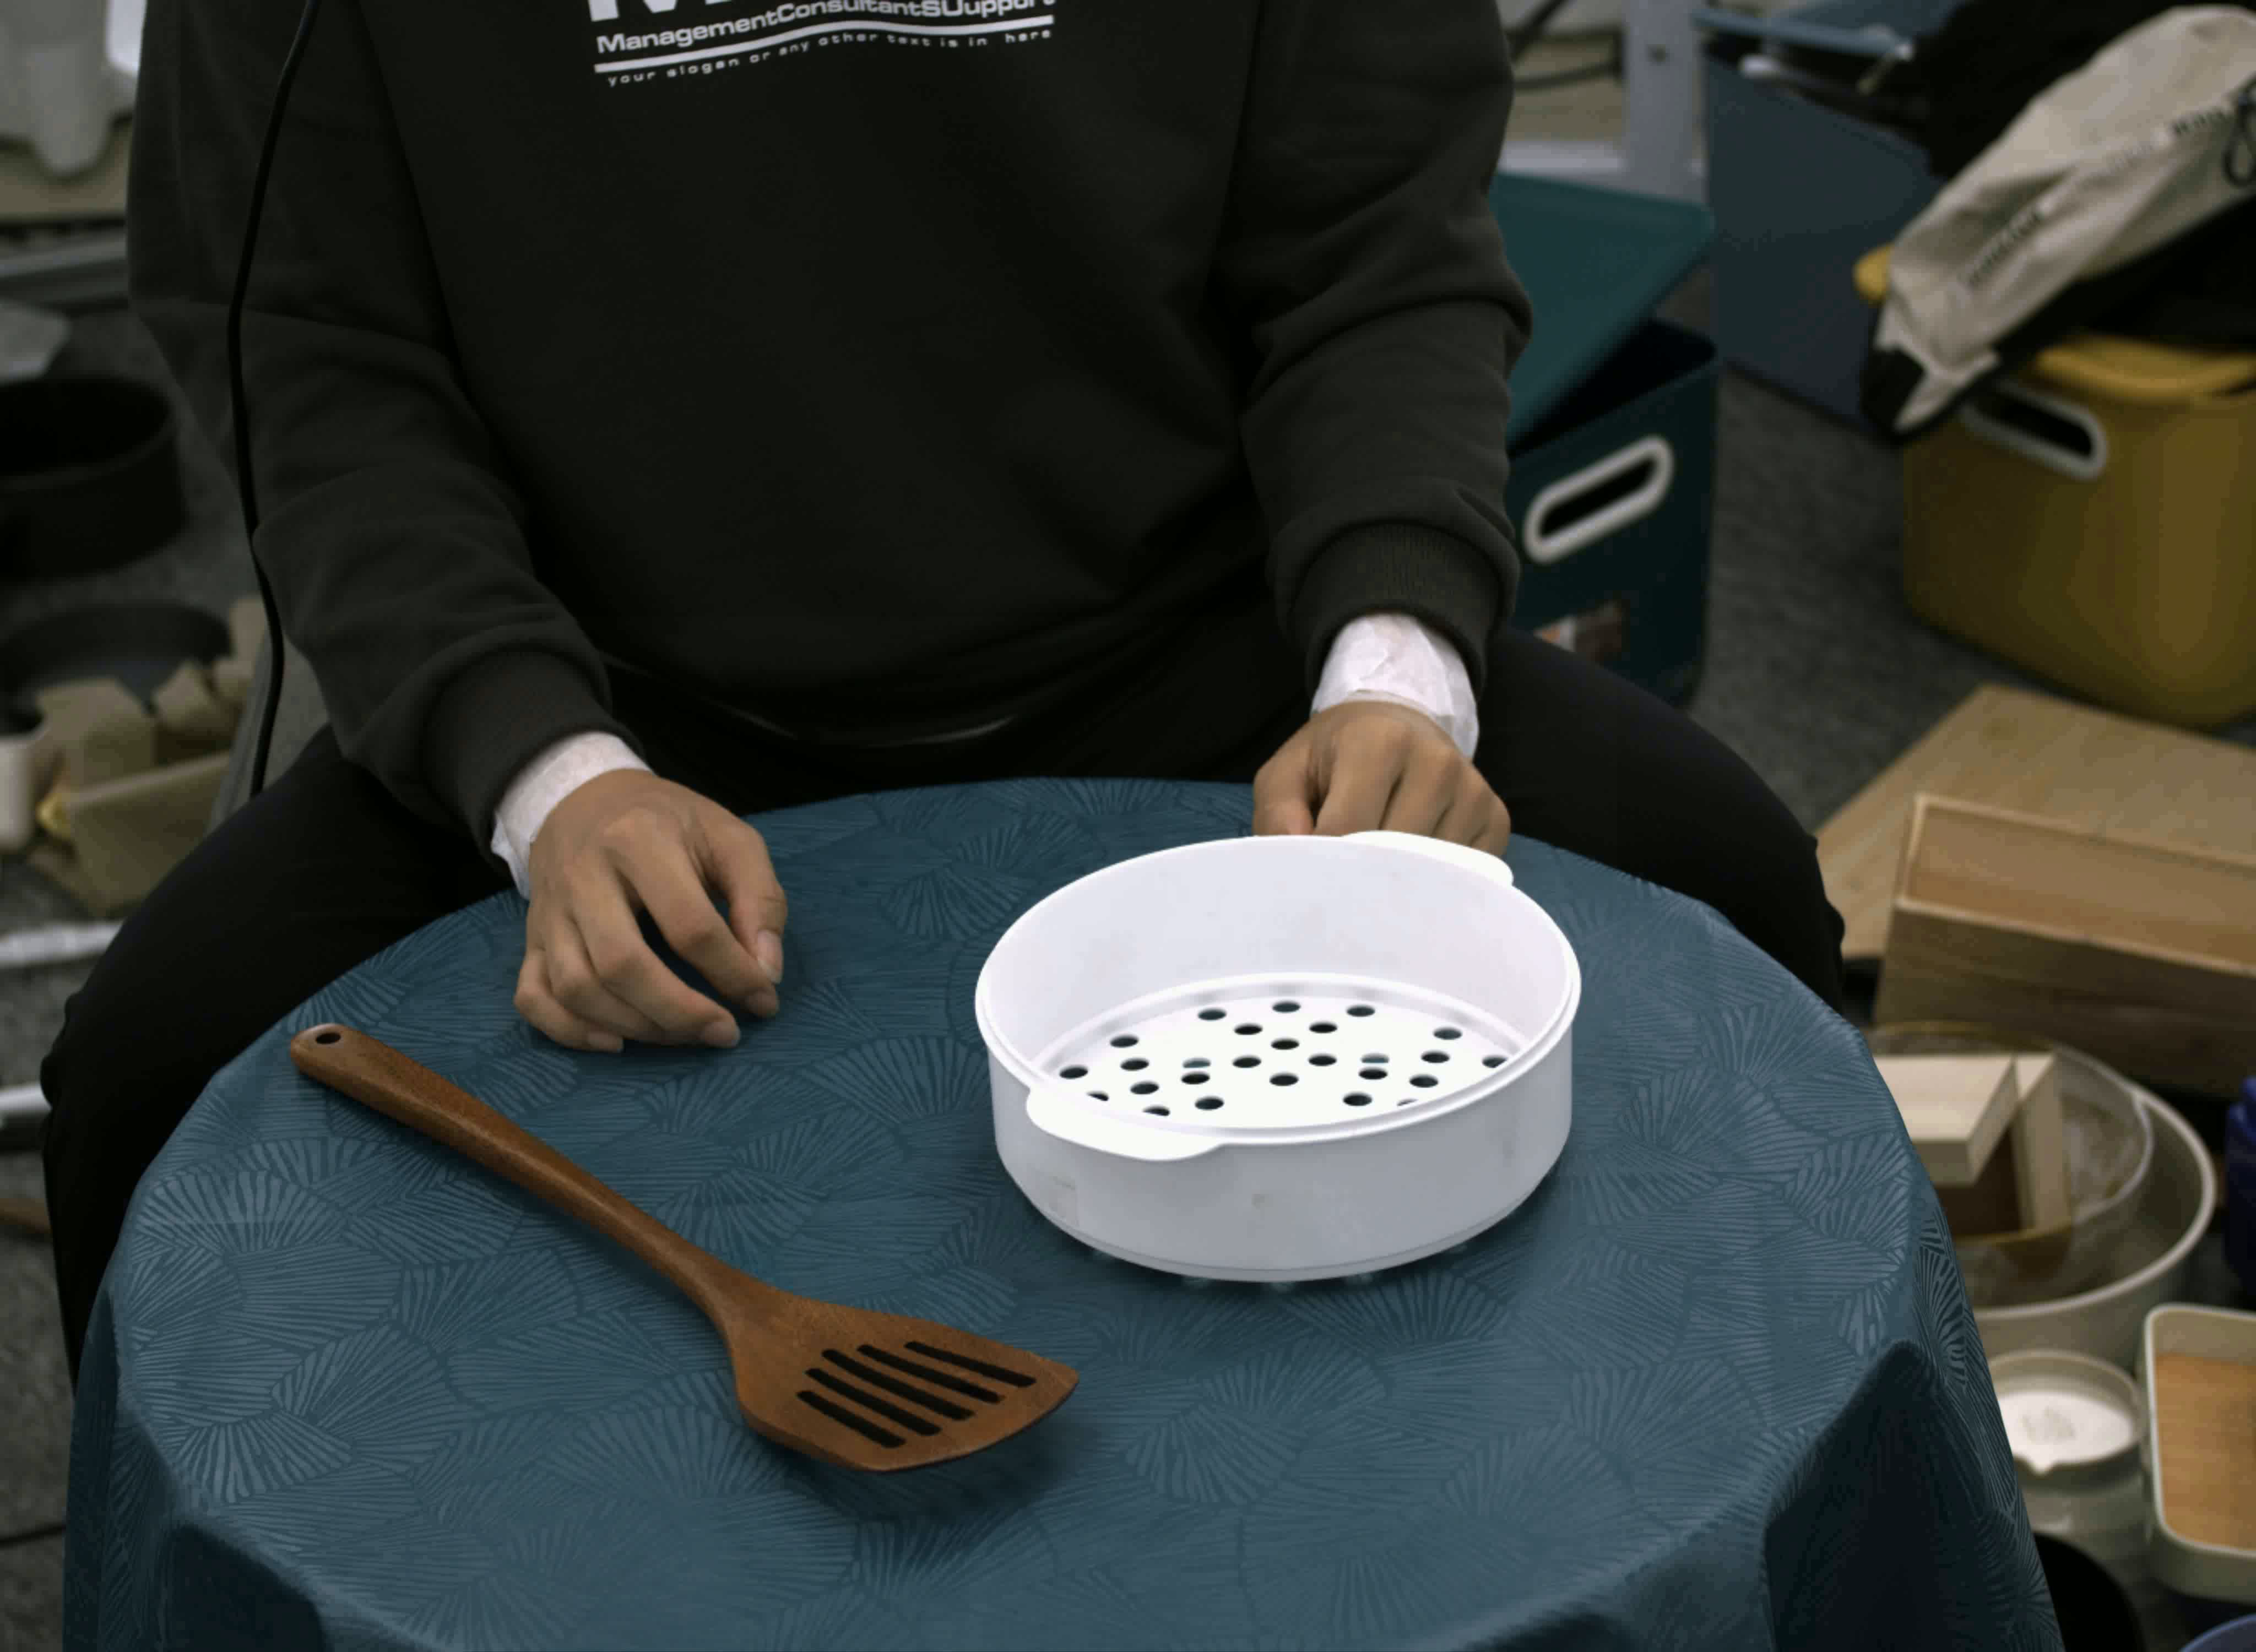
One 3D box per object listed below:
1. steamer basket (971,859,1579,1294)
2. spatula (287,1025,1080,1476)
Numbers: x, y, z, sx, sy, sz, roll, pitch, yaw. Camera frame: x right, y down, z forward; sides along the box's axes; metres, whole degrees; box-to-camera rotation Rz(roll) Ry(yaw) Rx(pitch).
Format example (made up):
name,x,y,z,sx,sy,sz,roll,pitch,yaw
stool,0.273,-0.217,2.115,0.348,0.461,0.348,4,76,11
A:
name,x,y,z,sx,sy,sz,roll,pitch,yaw
steamer basket,0.048,0.083,1.866,0.201,0.068,0.234,16,29,29
spatula,-0.164,0.134,1.830,0.087,0.023,0.385,-21,31,-36
